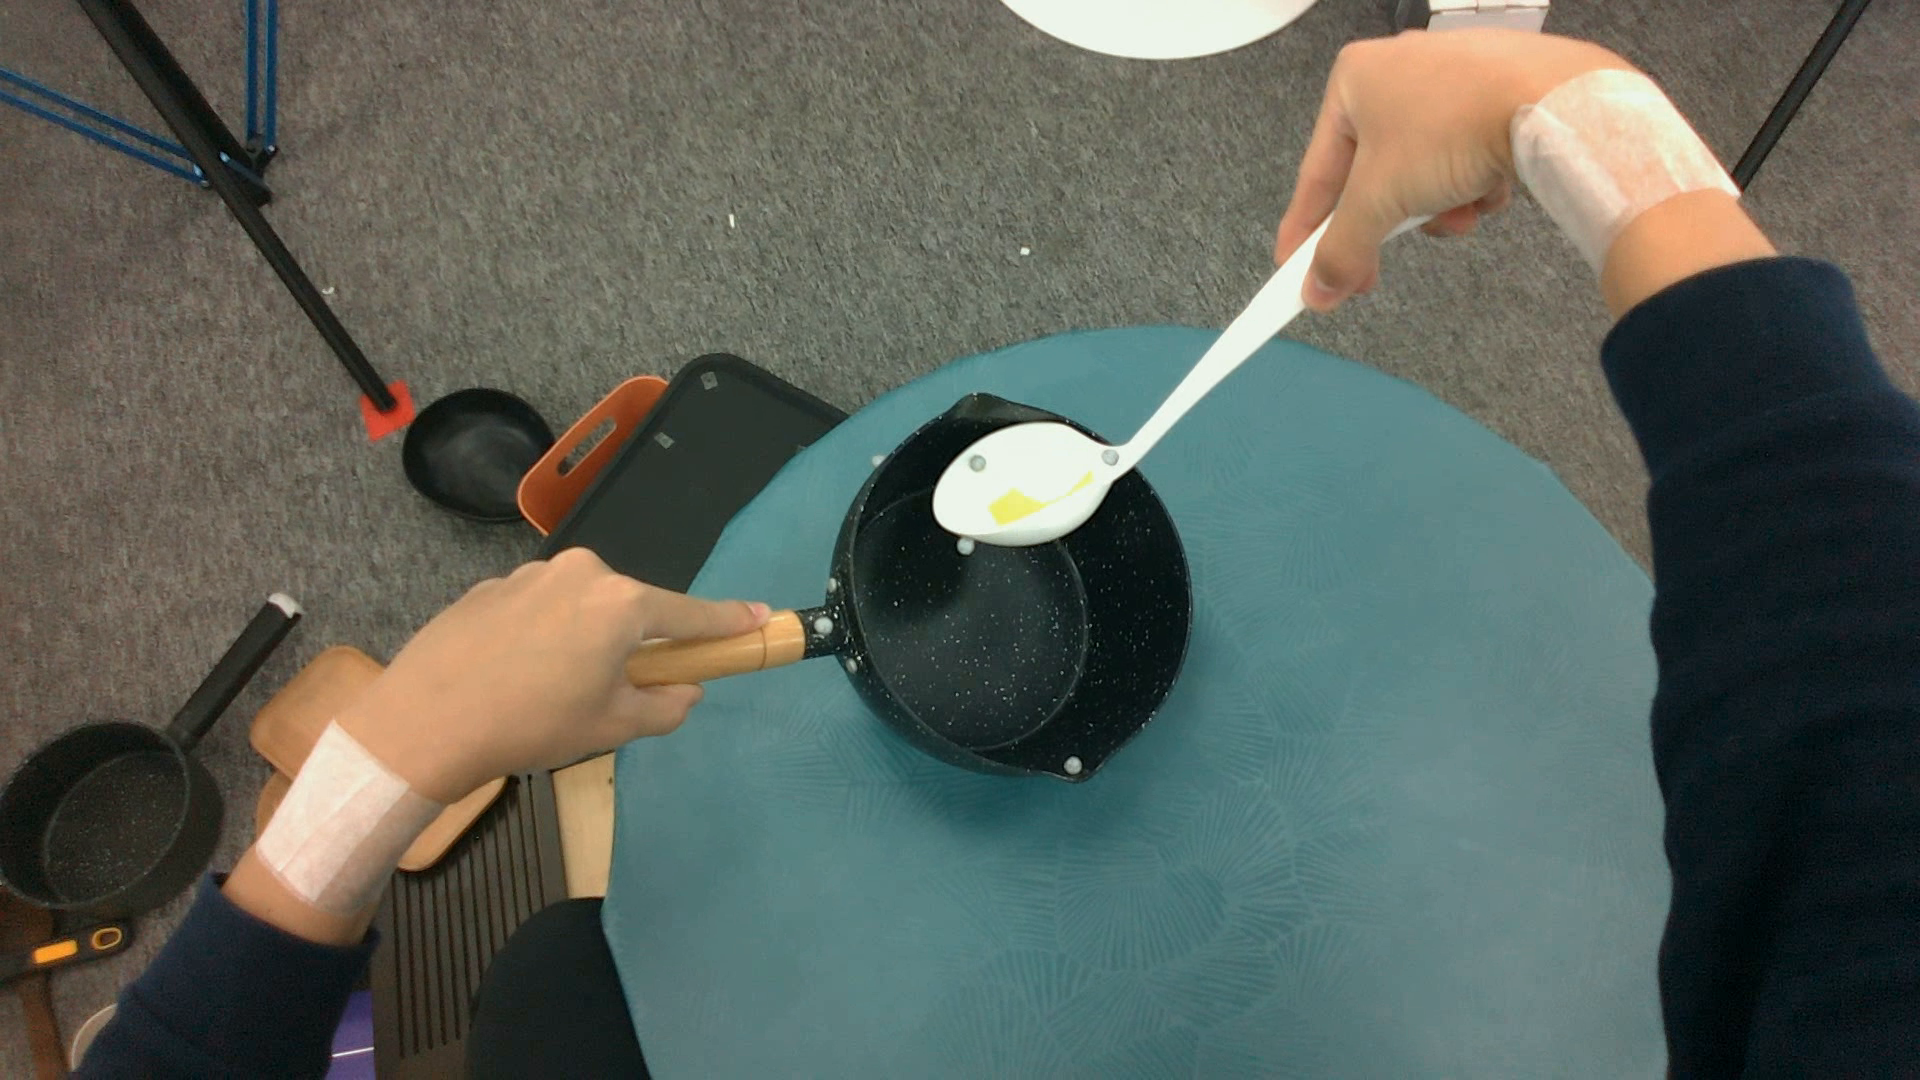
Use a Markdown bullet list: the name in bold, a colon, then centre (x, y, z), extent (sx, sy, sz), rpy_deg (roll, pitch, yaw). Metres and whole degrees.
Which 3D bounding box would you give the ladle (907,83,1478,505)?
- **ladle**: centre (0.087, -0.102, 0.607), extent (0.070, 0.291, 0.090), rpy_deg (43, 42, -7)

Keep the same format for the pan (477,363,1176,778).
- **pan**: centre (-0.057, 0.034, 0.658), extent (0.344, 0.108, 0.207), rpy_deg (-13, 81, -28)
